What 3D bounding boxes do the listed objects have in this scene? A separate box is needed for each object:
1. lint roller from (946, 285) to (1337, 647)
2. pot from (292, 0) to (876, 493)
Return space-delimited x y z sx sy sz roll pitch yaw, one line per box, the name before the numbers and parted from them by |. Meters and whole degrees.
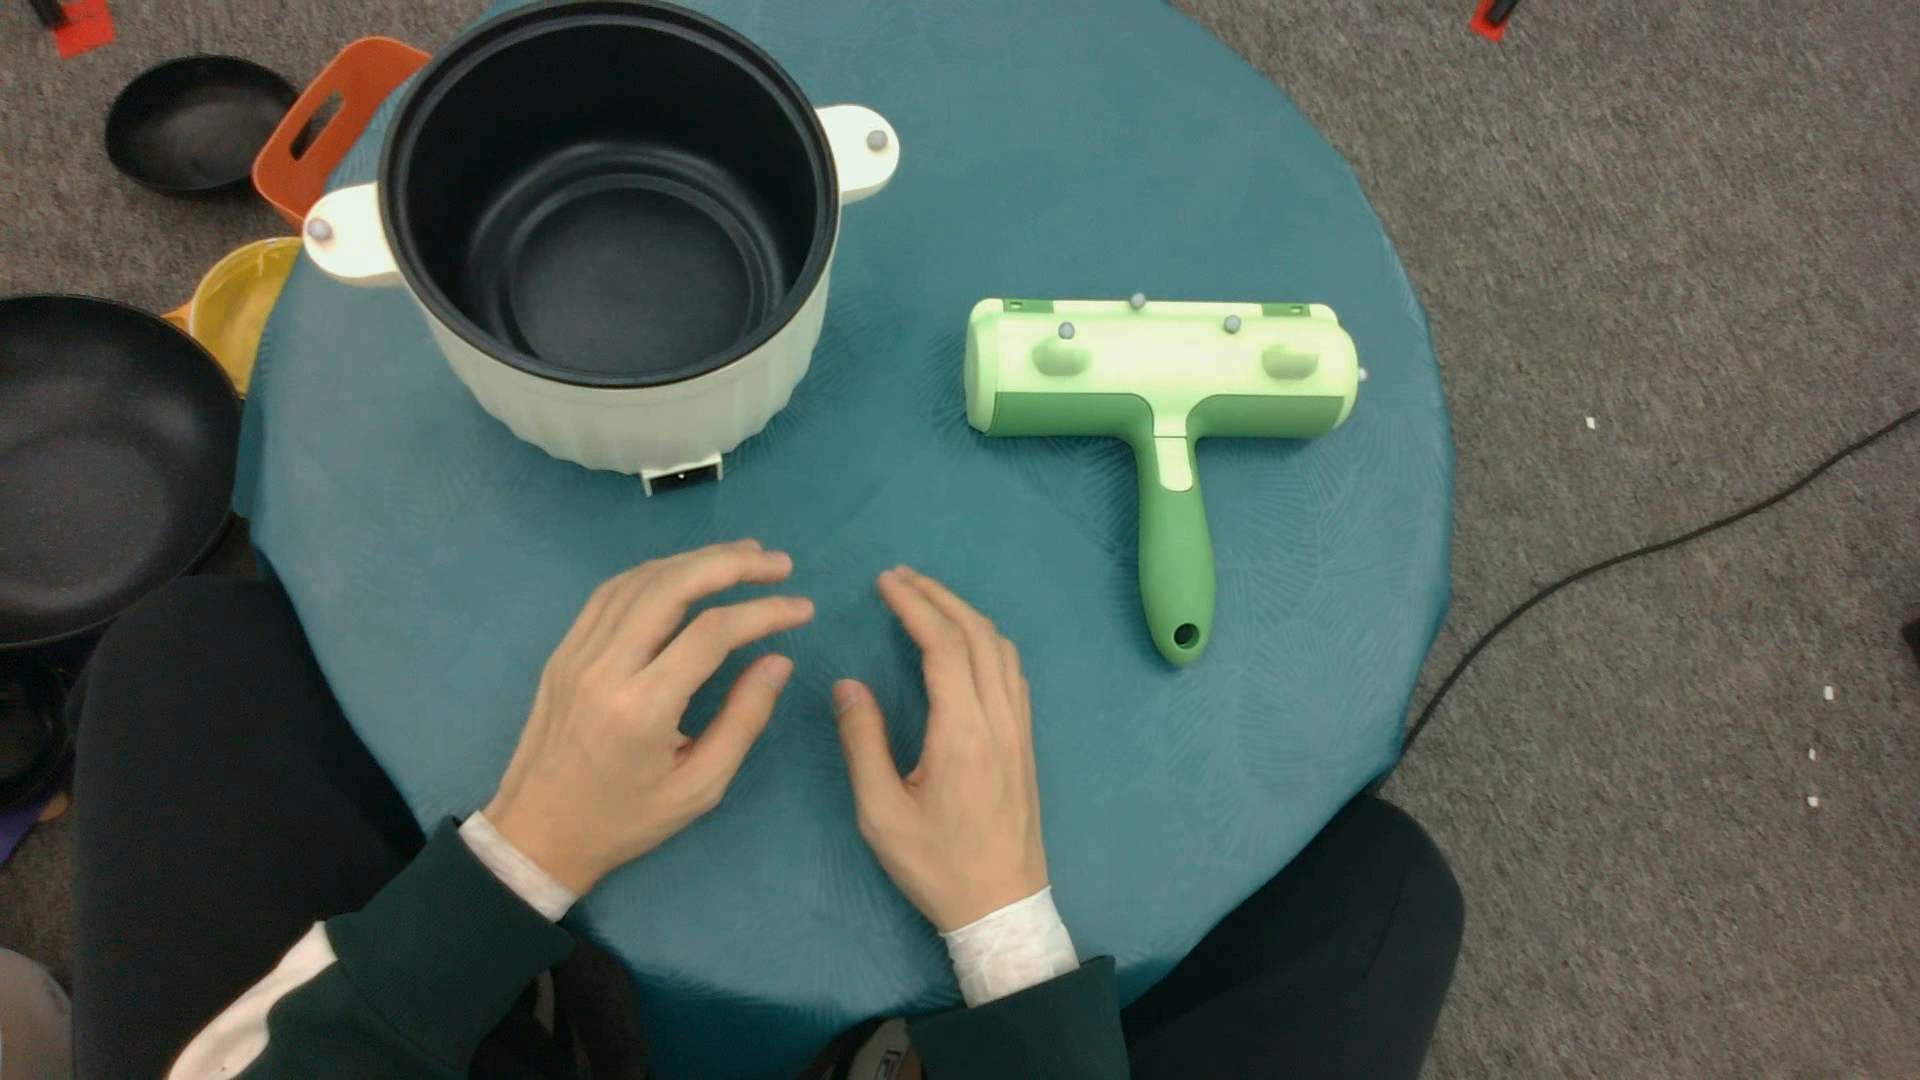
lint roller | 0.098 -0.045 0.673 0.199 0.082 0.184 -1 67 -10
pot | -0.162 -0.130 0.625 0.241 0.142 0.191 -16 78 -16
